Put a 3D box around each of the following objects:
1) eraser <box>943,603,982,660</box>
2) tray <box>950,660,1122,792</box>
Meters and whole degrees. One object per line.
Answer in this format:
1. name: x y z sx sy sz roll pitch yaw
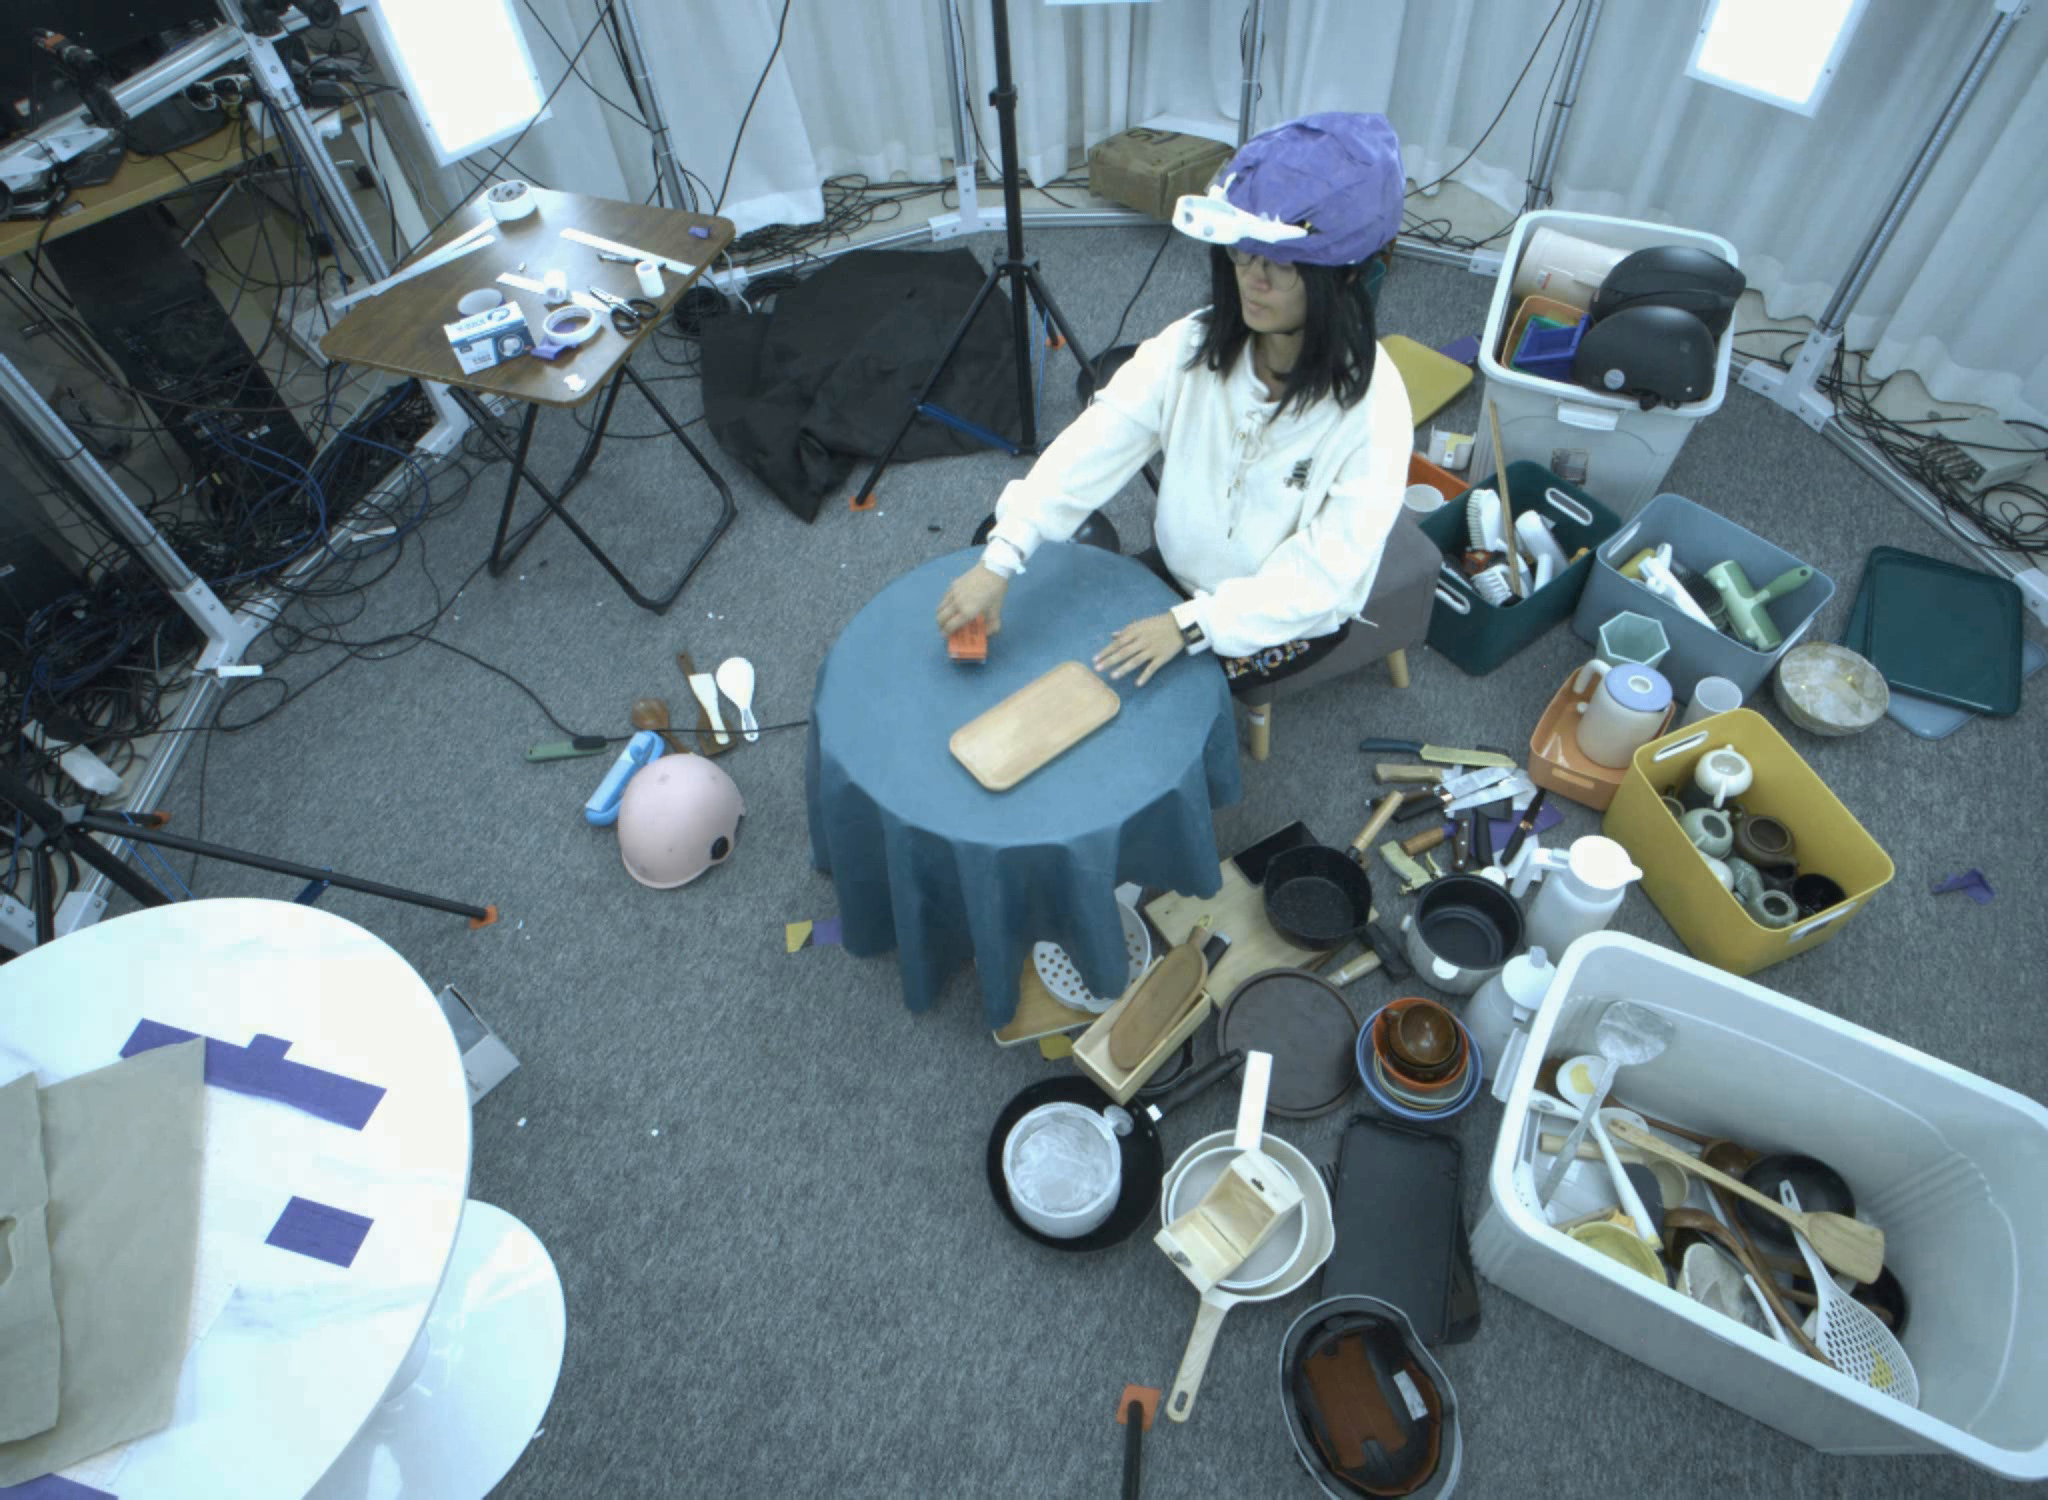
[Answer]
1. eraser: -0.095 -0.184 1.896 0.059 0.023 0.106 1 49 -5
2. tray: 0.018 -0.037 1.802 0.253 0.023 0.128 -33 63 -20
